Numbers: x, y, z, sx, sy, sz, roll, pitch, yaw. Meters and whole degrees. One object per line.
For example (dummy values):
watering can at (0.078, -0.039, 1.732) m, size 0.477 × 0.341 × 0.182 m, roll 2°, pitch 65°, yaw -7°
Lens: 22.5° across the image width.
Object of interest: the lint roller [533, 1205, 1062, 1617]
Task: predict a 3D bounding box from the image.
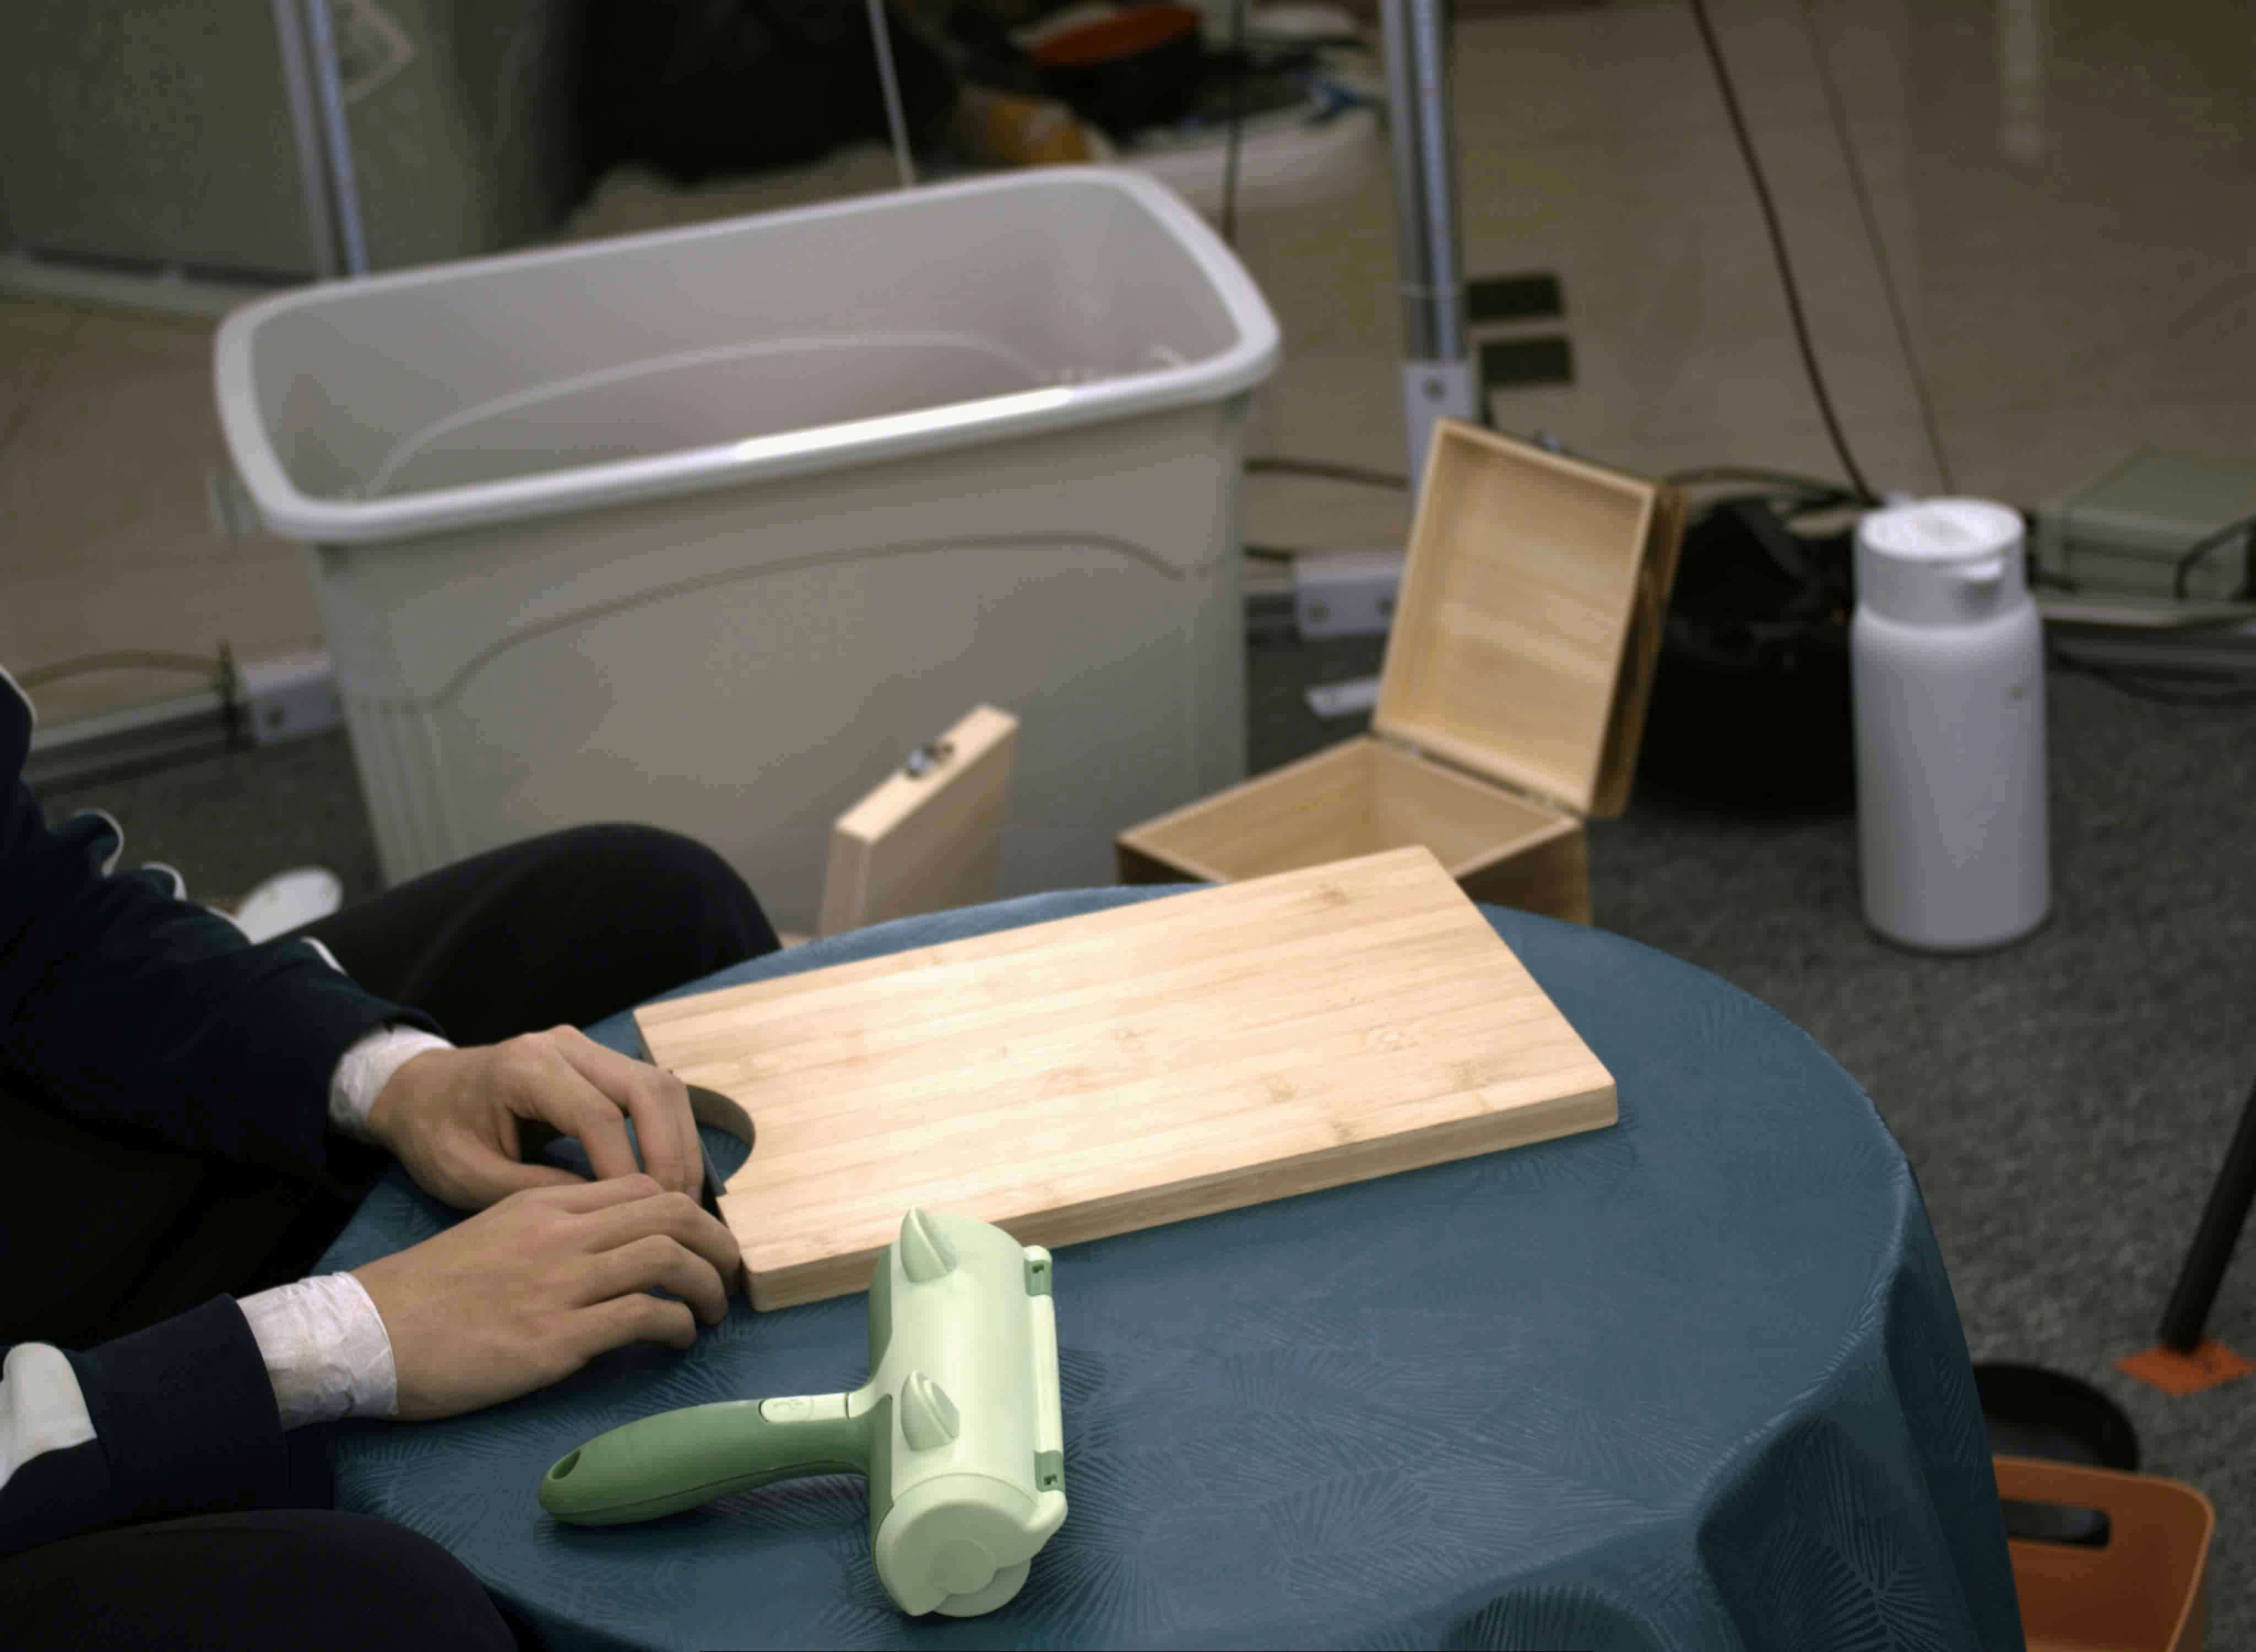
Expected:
lint roller at (-0.116, 0.197, 1.956) m, size 0.183 × 0.083 × 0.195 m, roll -2°, pitch 25°, yaw -1°

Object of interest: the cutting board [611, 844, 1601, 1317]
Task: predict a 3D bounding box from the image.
cutting board at (-0.012, 0.095, 2.222) m, size 0.347 × 0.024 × 0.247 m, roll -12°, pitch 25°, yaw -12°
